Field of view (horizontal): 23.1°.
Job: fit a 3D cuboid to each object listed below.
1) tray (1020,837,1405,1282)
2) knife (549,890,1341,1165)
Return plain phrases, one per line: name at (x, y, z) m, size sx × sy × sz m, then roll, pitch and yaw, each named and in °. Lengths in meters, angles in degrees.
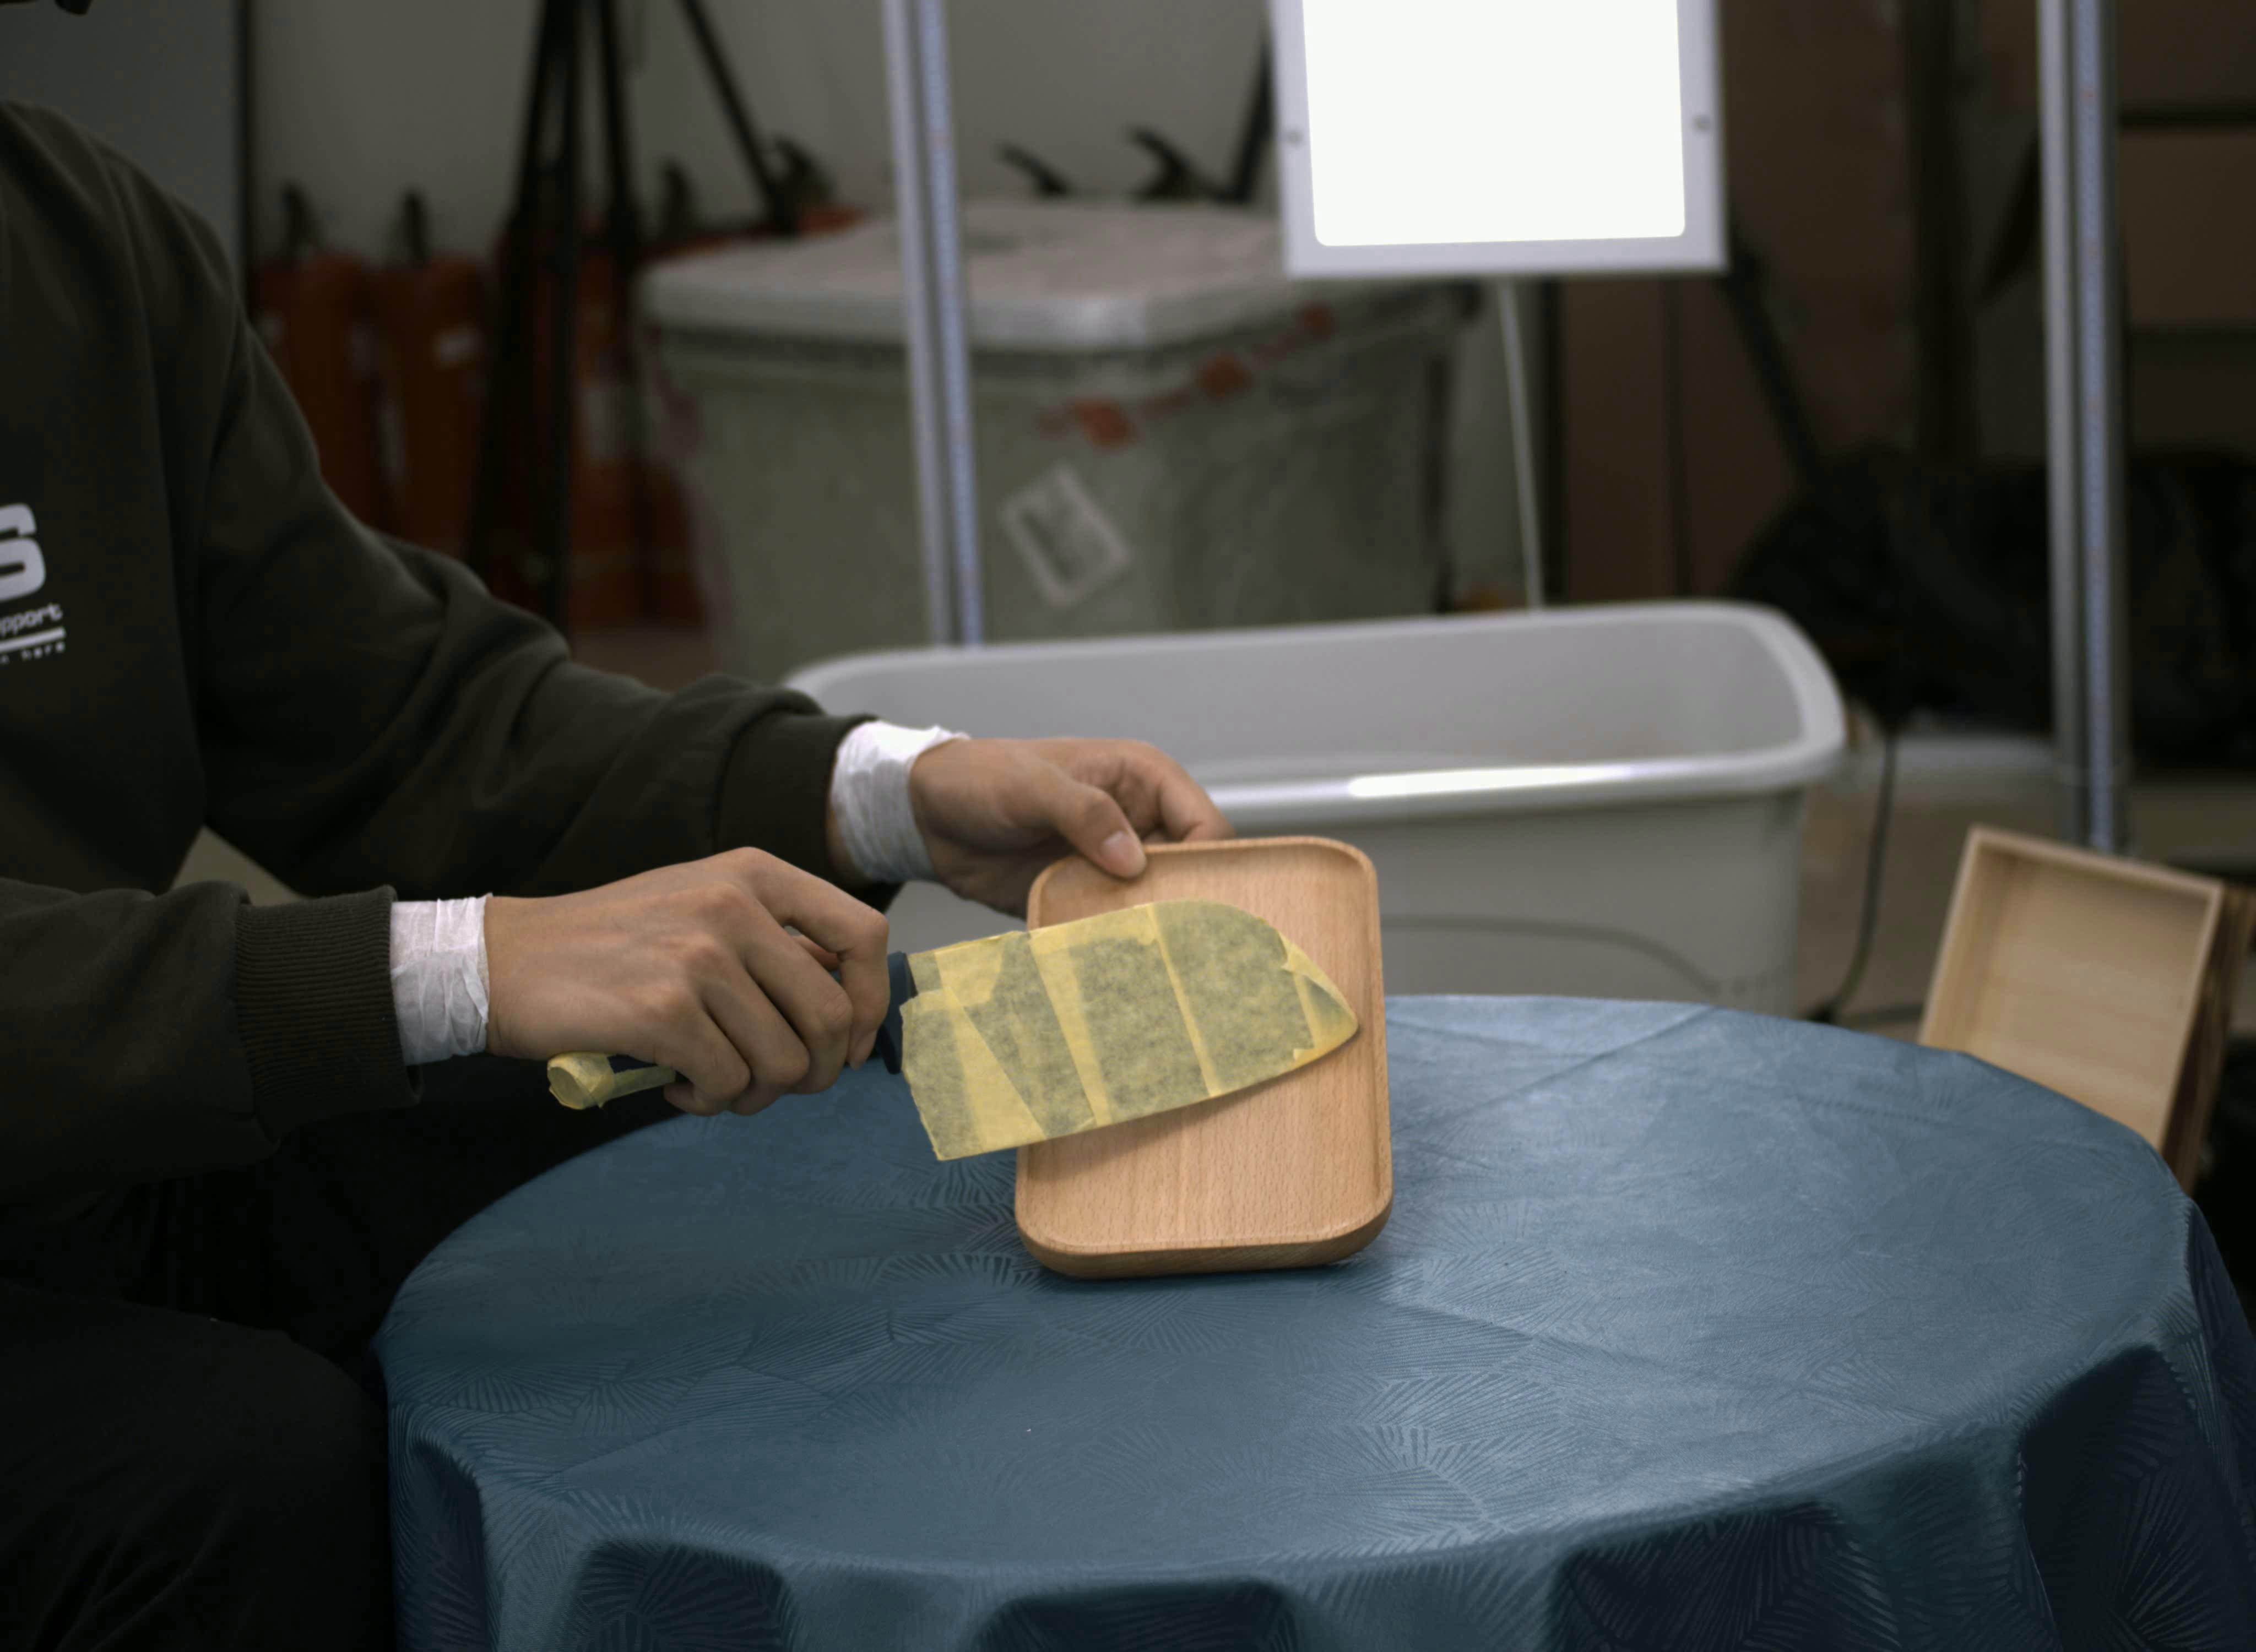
tray at (0.029, 0.078, 1.905) m, size 0.131 × 0.023 × 0.249 m, roll -7°, pitch 33°, yaw 6°
knife at (-0.055, 0.074, 1.849) m, size 0.284 × 0.081 × 0.027 m, roll -10°, pitch -20°, yaw -22°
